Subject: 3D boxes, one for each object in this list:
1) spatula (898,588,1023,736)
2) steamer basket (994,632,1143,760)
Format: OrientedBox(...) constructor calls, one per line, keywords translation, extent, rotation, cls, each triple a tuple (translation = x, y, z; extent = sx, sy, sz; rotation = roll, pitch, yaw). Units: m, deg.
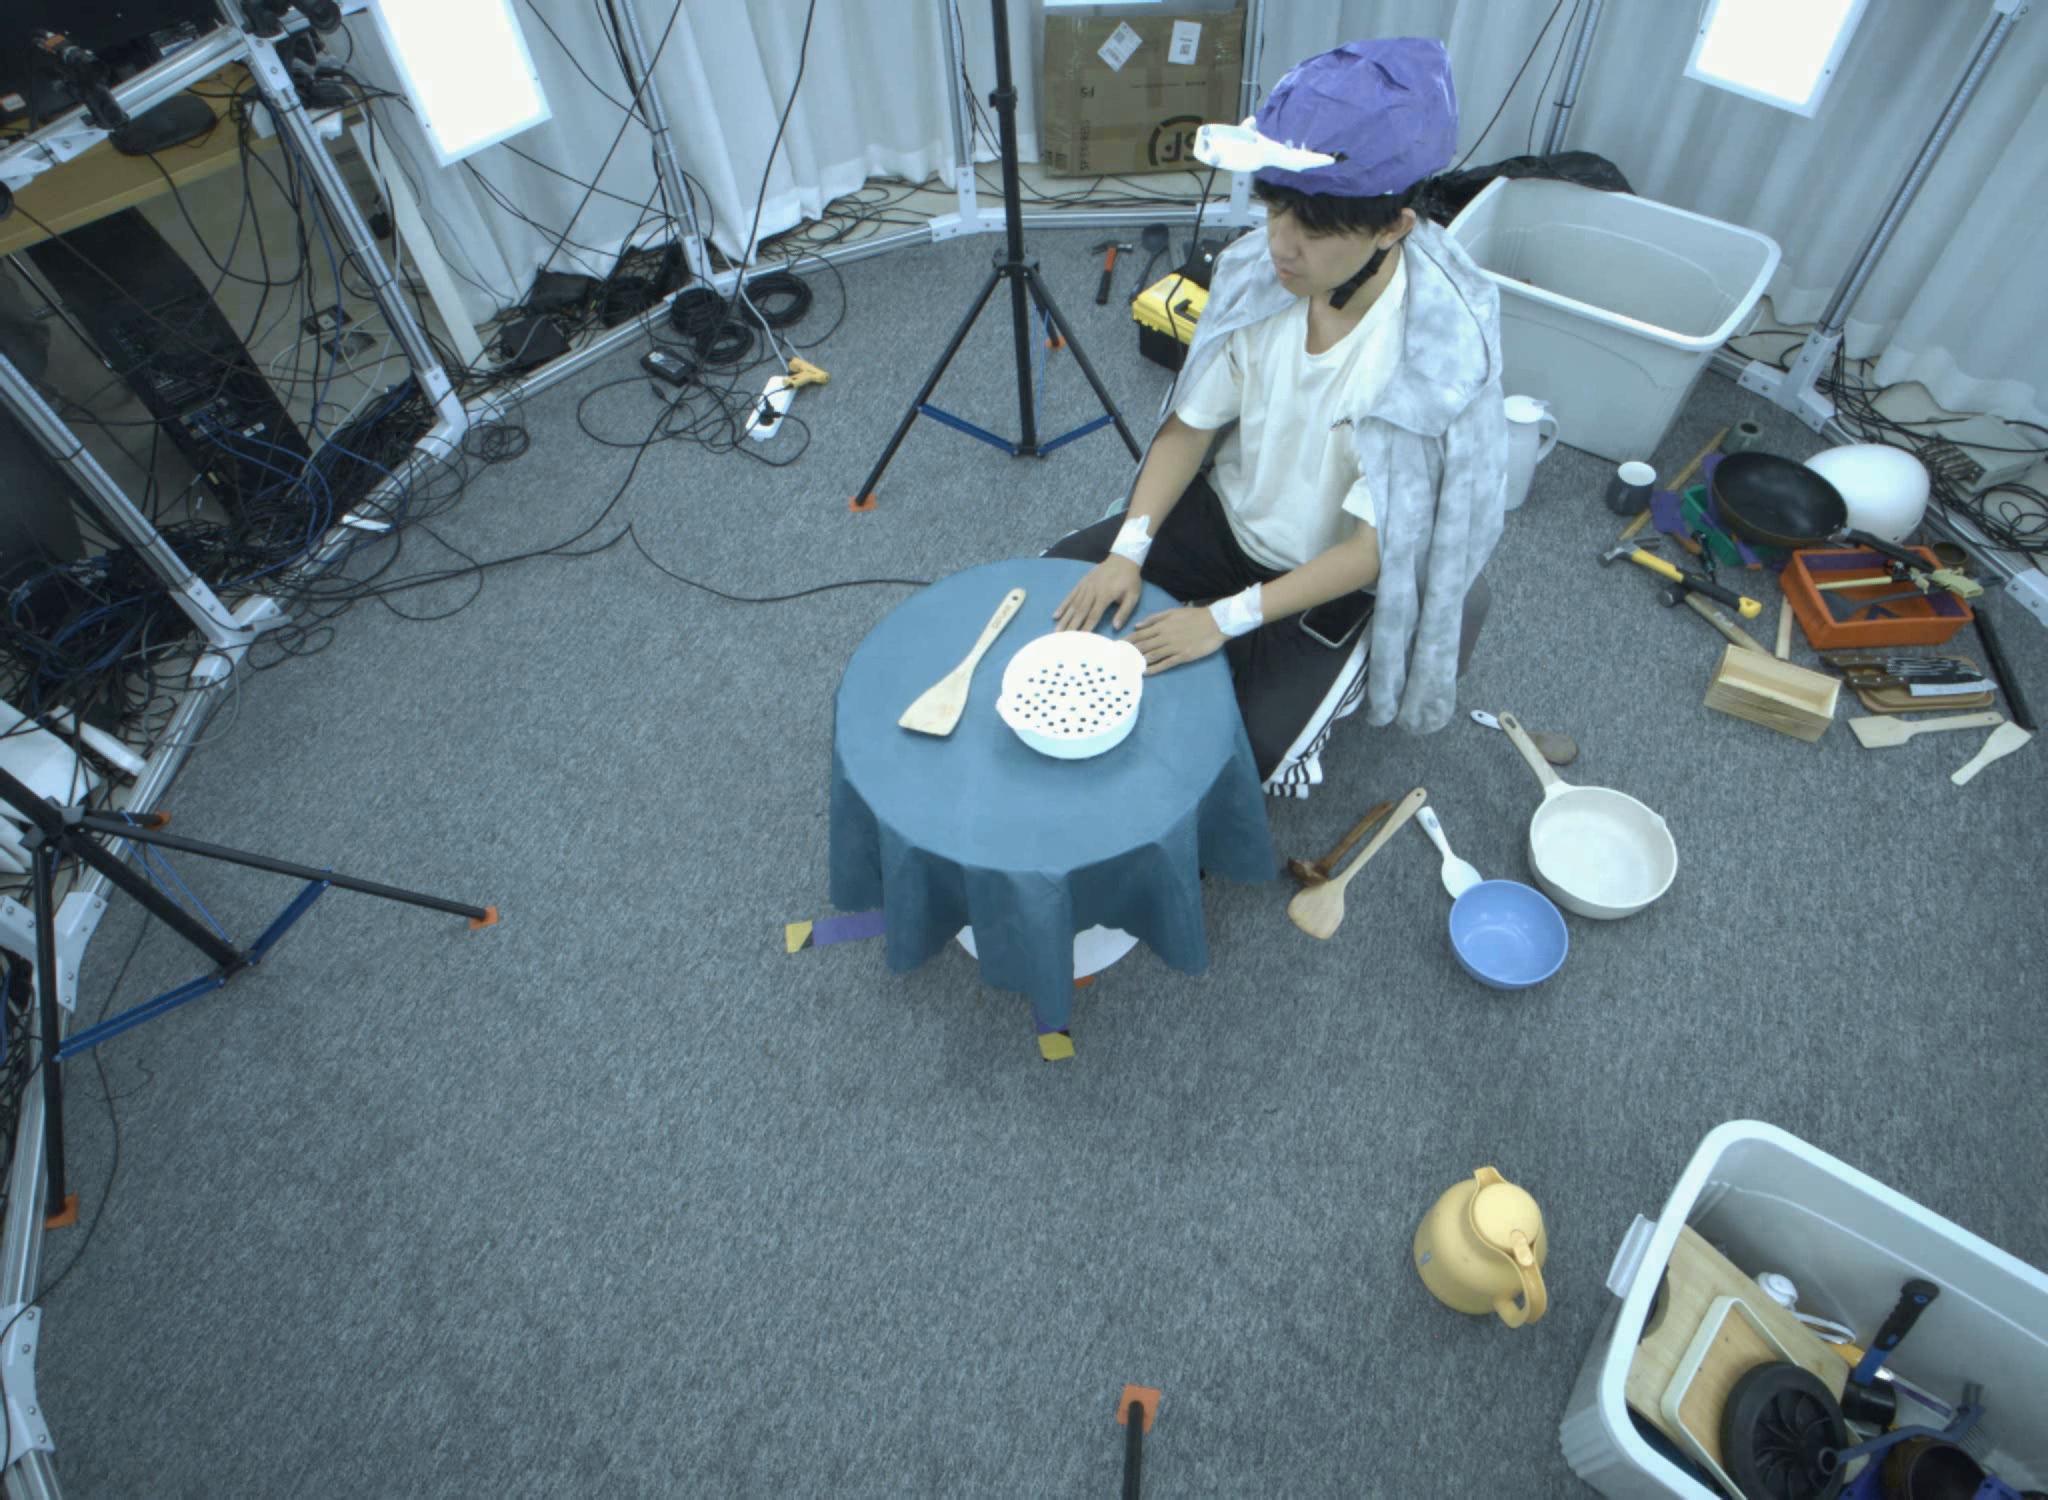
OrientedBox(translation=(-0.081, -0.140, 1.881), extent=(0.079, 0.017, 0.328), rotation=(22, 58, 16), cls="spatula")
OrientedBox(translation=(0.066, -0.077, 1.802), extent=(0.232, 0.070, 0.198), rotation=(-26, 59, -16), cls="steamer basket")
